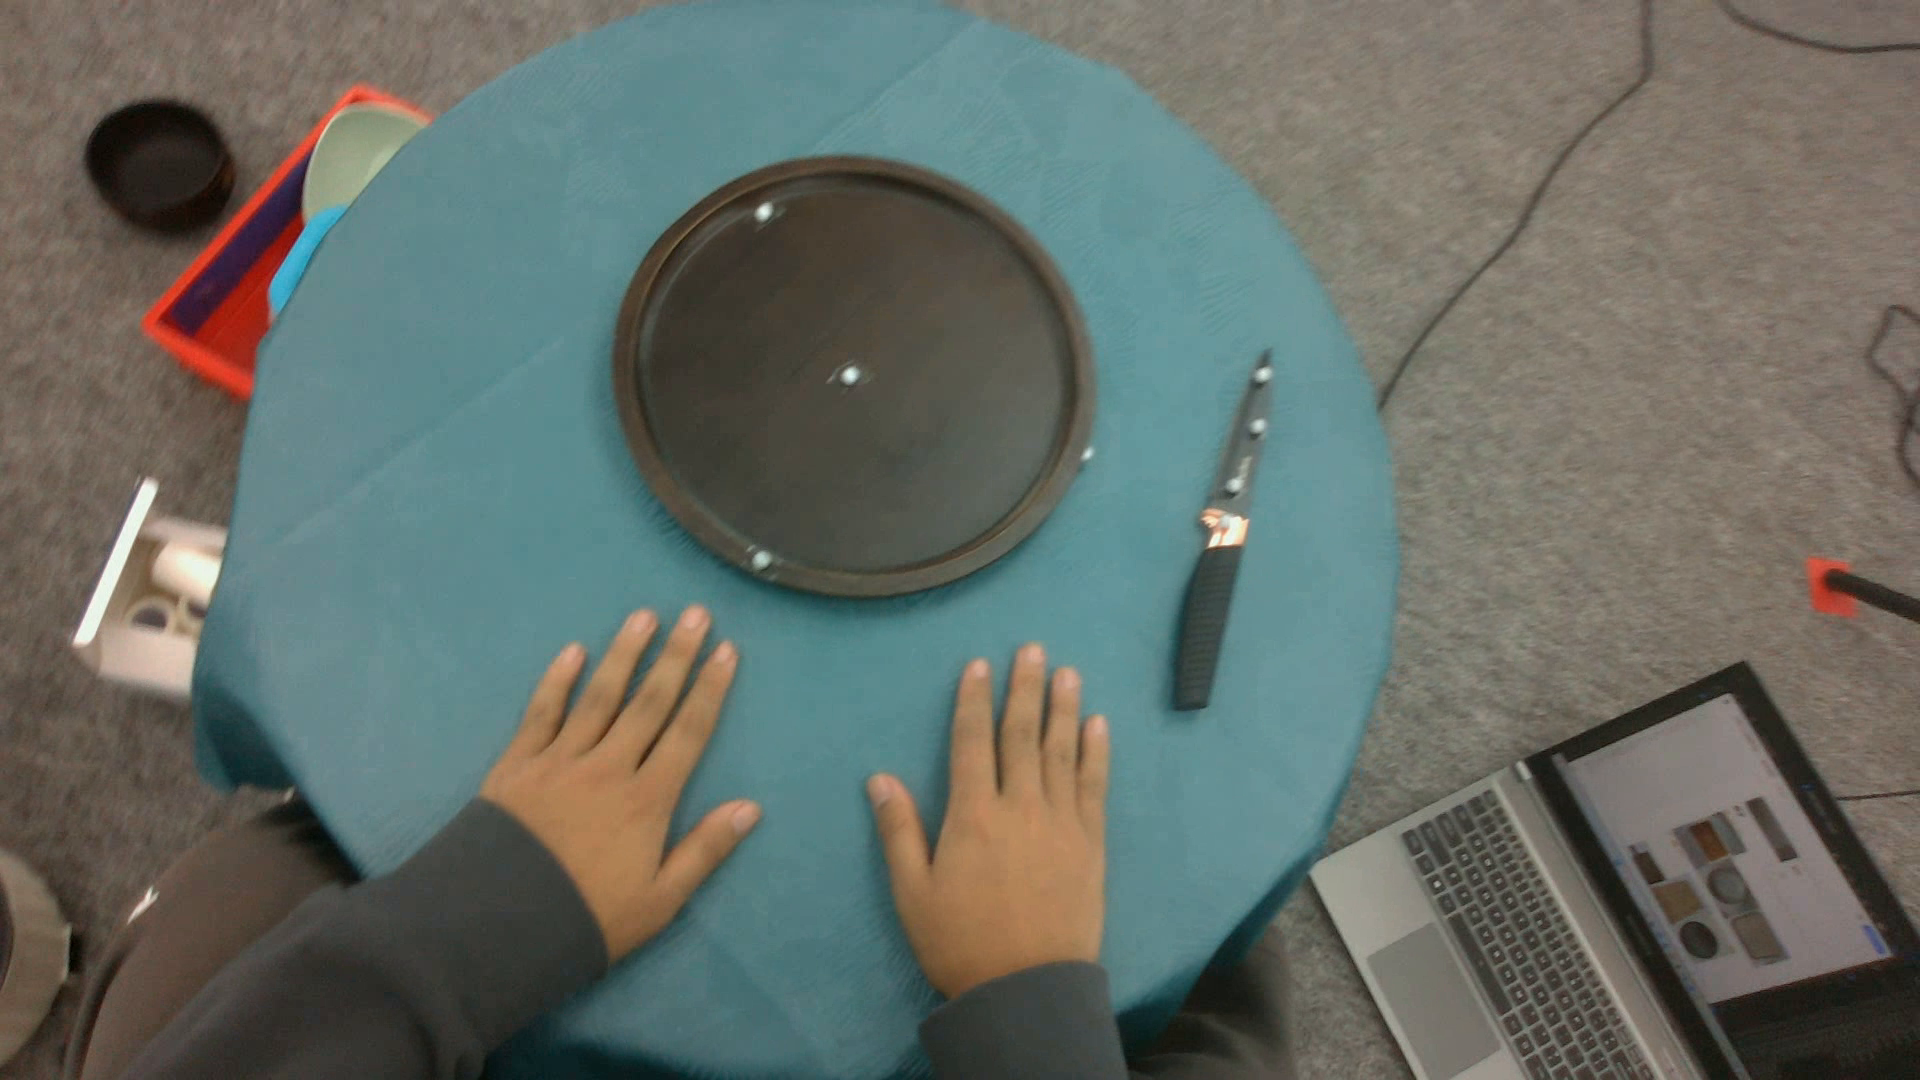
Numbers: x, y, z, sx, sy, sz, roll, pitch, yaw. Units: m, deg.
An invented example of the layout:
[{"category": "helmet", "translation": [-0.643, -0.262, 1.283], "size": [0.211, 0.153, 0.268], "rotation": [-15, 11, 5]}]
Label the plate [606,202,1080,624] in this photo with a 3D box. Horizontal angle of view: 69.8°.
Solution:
[{"category": "plate", "translation": [-0.061, -0.073, 0.744], "size": [0.255, 0.029, 0.255], "rotation": [3, 68, -8]}]

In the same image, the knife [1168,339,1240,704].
[{"category": "knife", "translation": [0.139, -0.016, 0.757], "size": [0.026, 0.017, 0.226], "rotation": [12, 65, 4]}]
